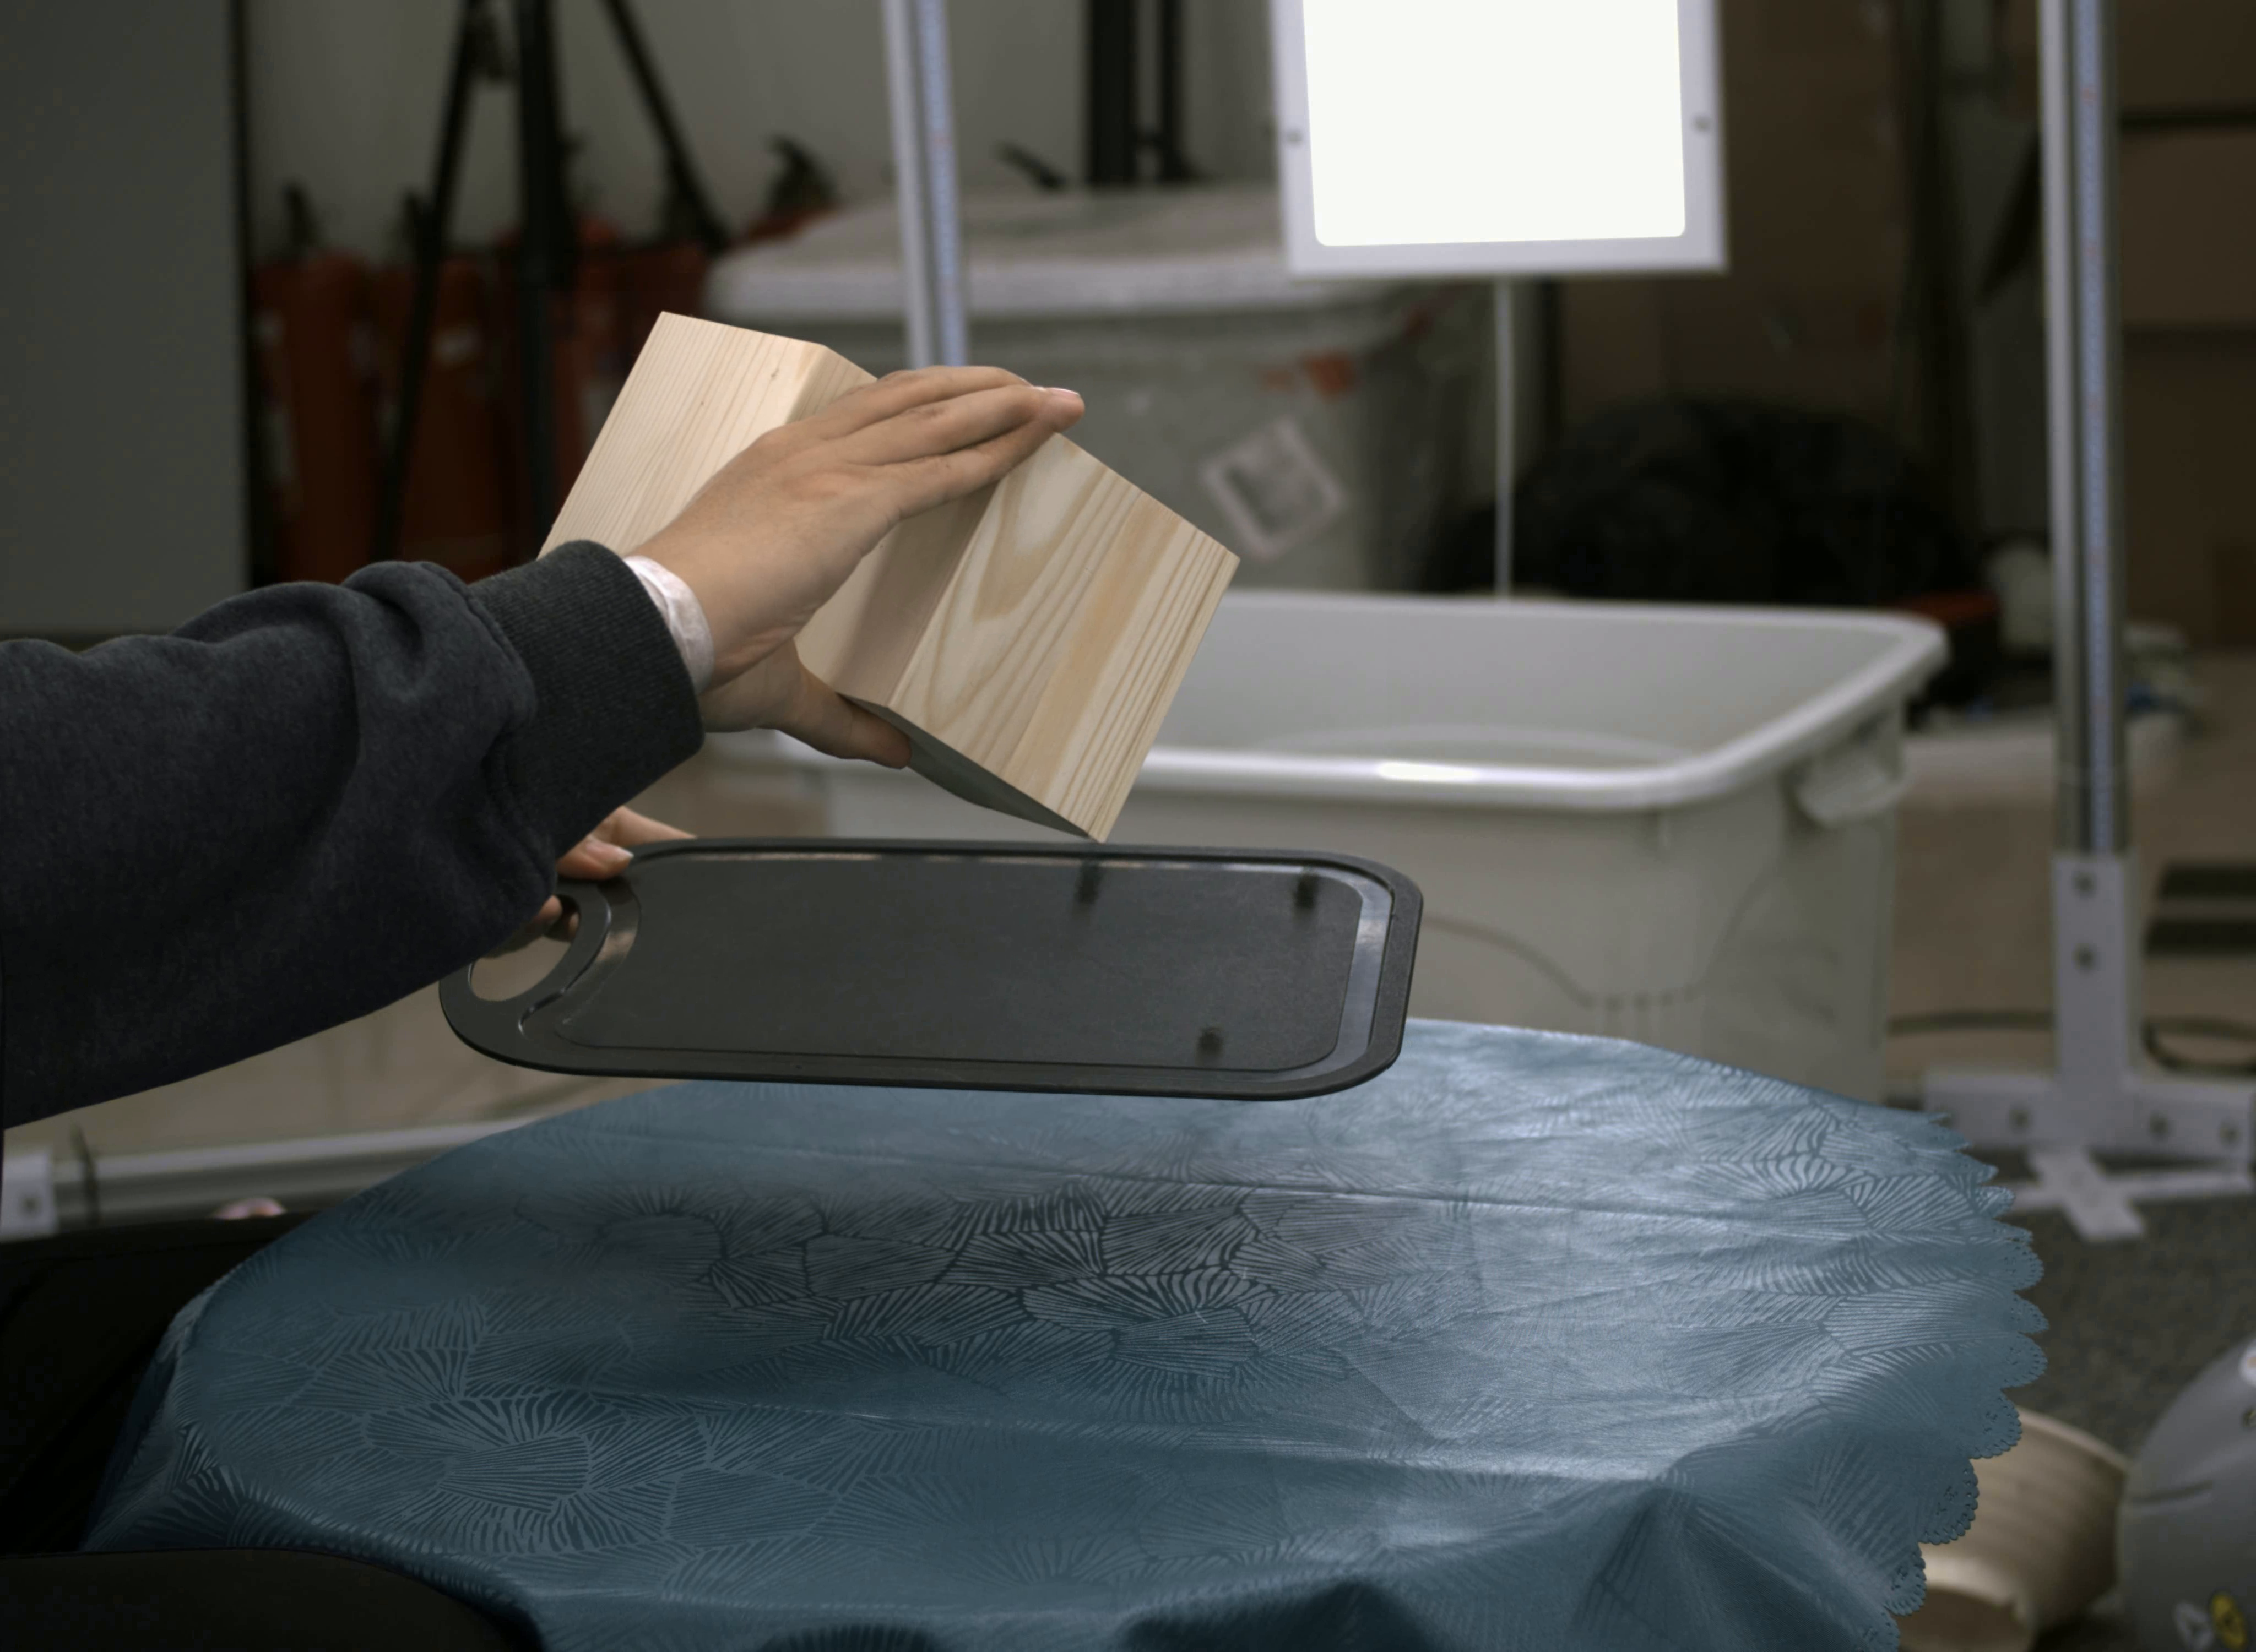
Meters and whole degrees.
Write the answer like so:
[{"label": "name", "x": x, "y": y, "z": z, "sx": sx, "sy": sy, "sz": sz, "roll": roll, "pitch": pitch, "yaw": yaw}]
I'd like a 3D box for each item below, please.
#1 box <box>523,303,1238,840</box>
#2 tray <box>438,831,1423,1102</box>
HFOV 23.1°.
[{"label": "box", "x": -0.080, "y": -0.082, "z": 1.756, "sx": 0.131, "sy": 0.102, "sz": 0.188, "roll": 31, "pitch": -7, "yaw": -40}, {"label": "tray", "x": -0.067, "y": 0.042, "z": 1.835, "sx": 0.327, "sy": 0.010, "sz": 0.209, "roll": 2, "pitch": 21, "yaw": 9}]
